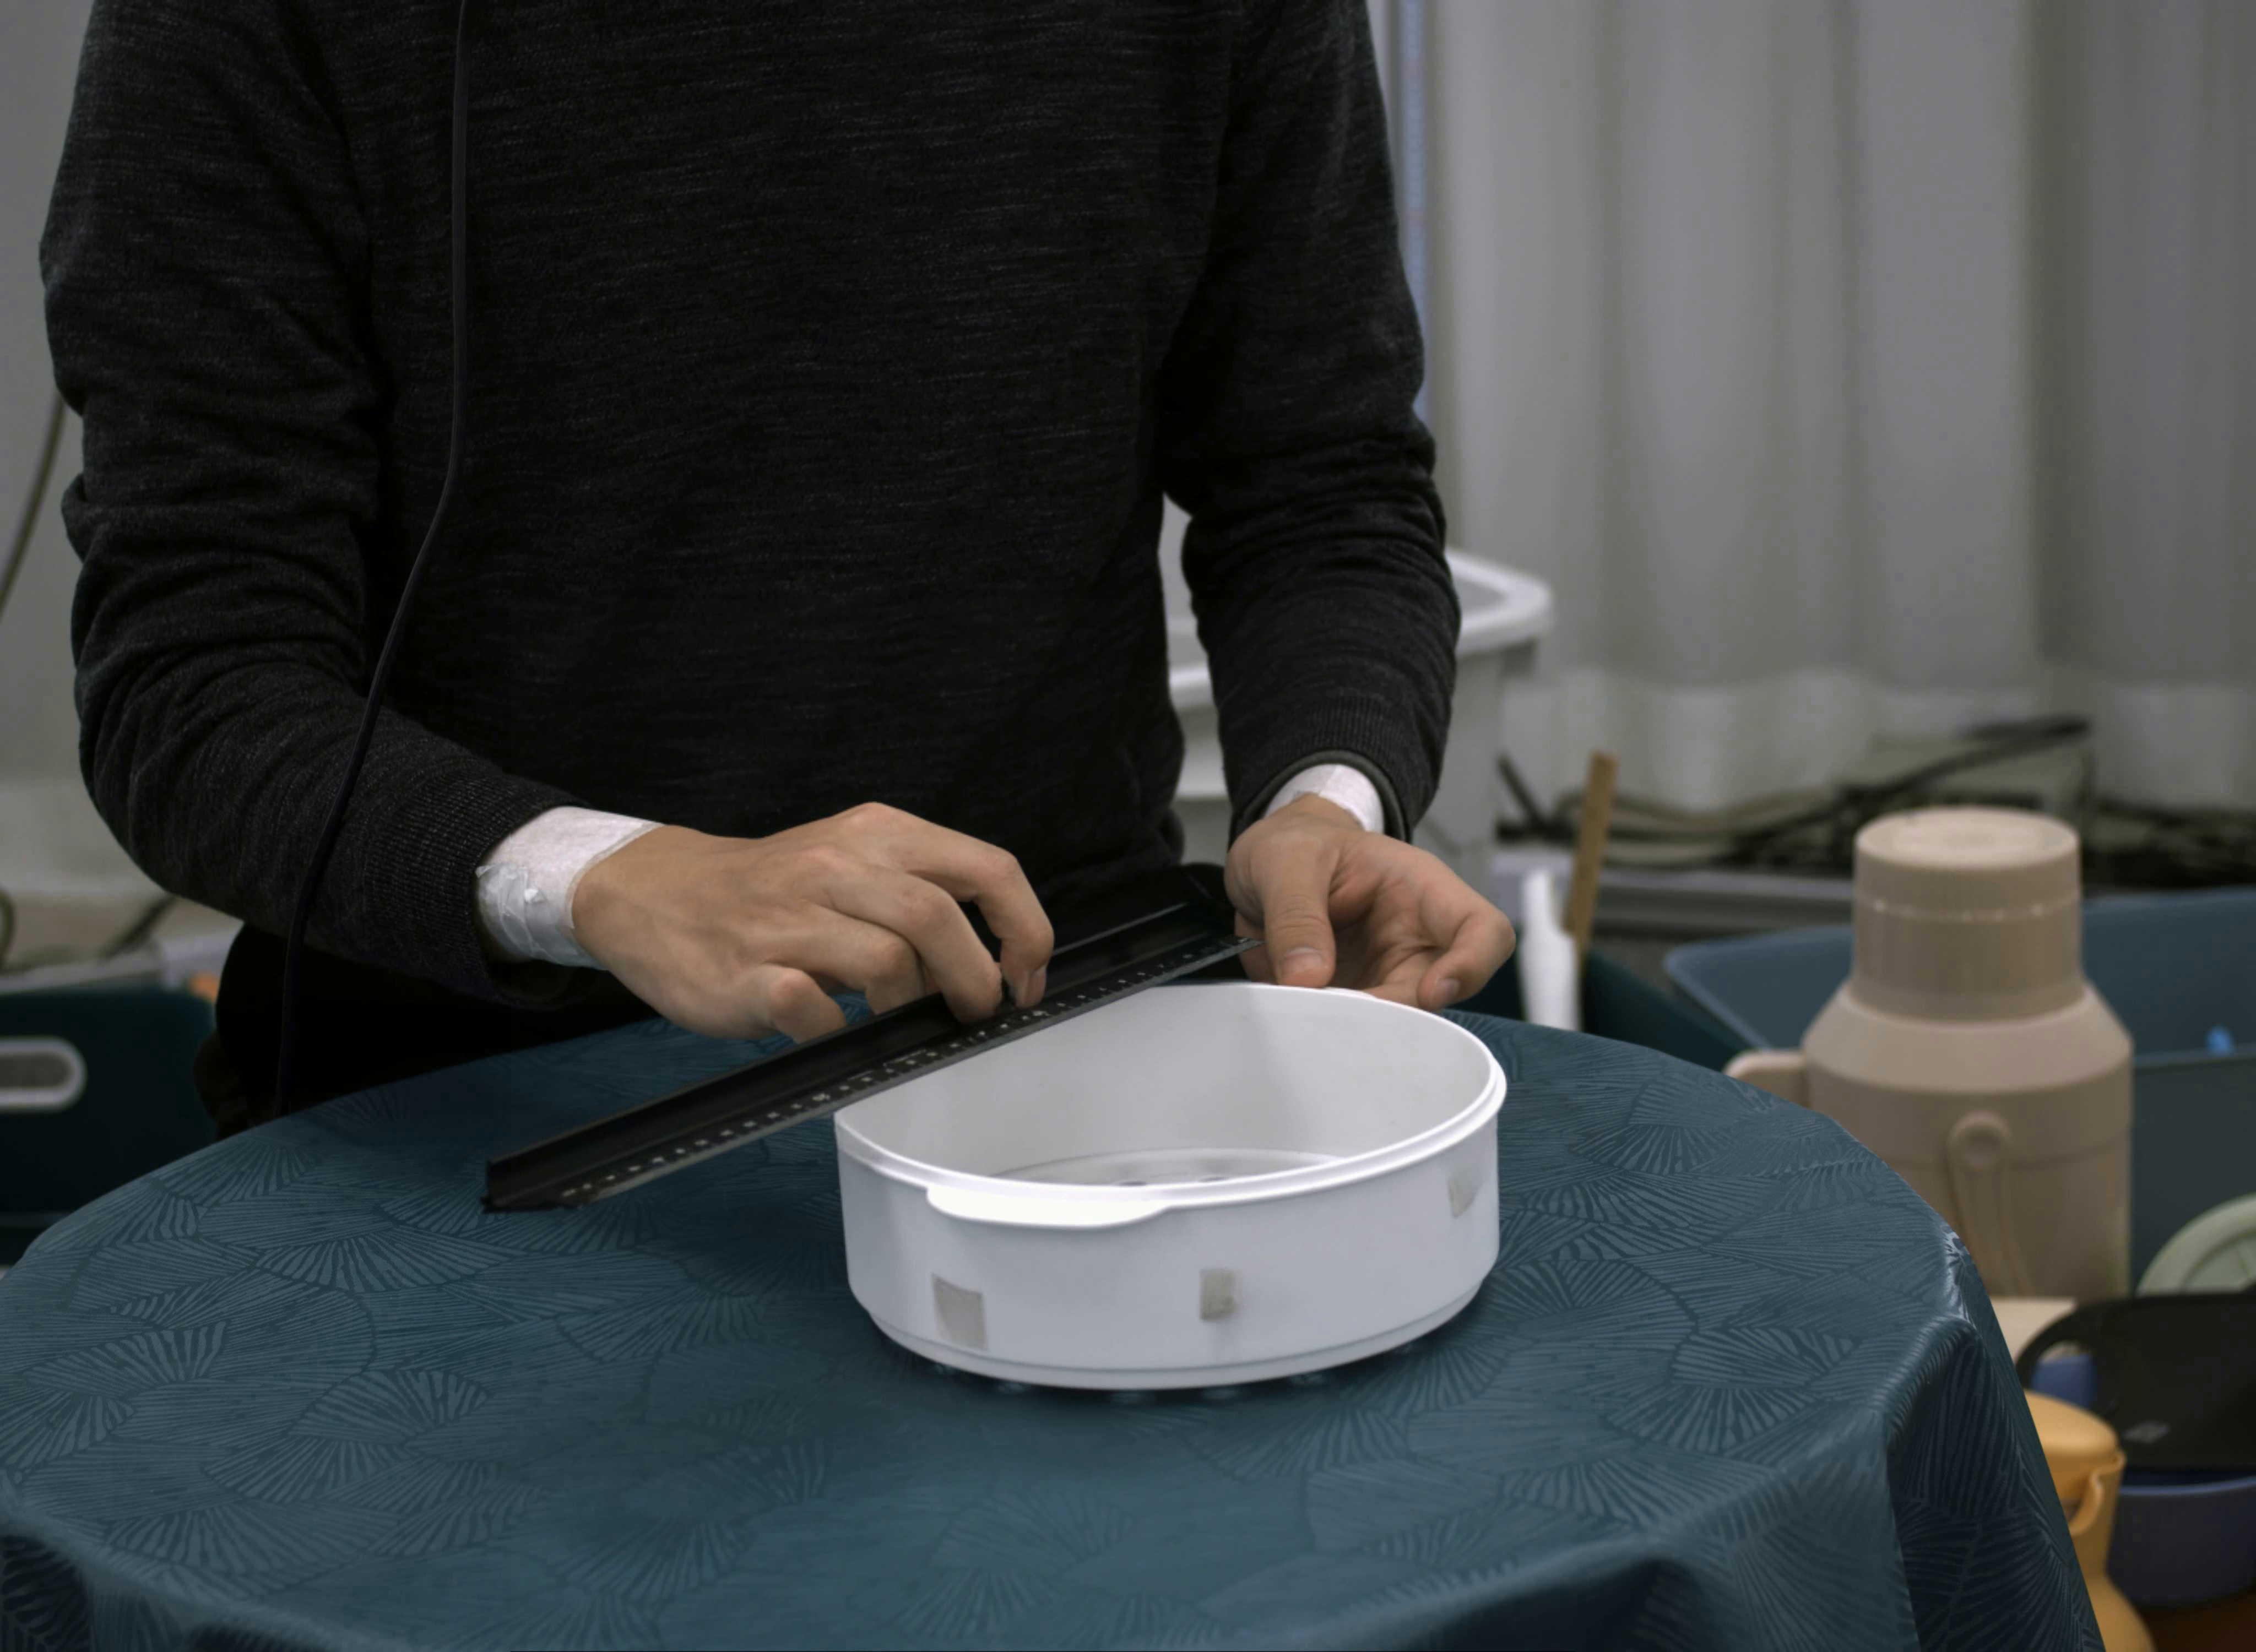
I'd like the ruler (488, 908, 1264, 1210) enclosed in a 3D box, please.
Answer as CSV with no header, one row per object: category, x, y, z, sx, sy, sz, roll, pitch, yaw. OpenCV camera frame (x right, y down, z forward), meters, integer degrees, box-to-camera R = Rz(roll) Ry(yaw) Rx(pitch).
ruler,-0.067,0.064,1.596,0.039,0.017,0.312,-5,9,40

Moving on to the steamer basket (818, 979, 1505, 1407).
steamer basket,0.011,0.108,1.607,0.202,0.069,0.231,3,17,20
